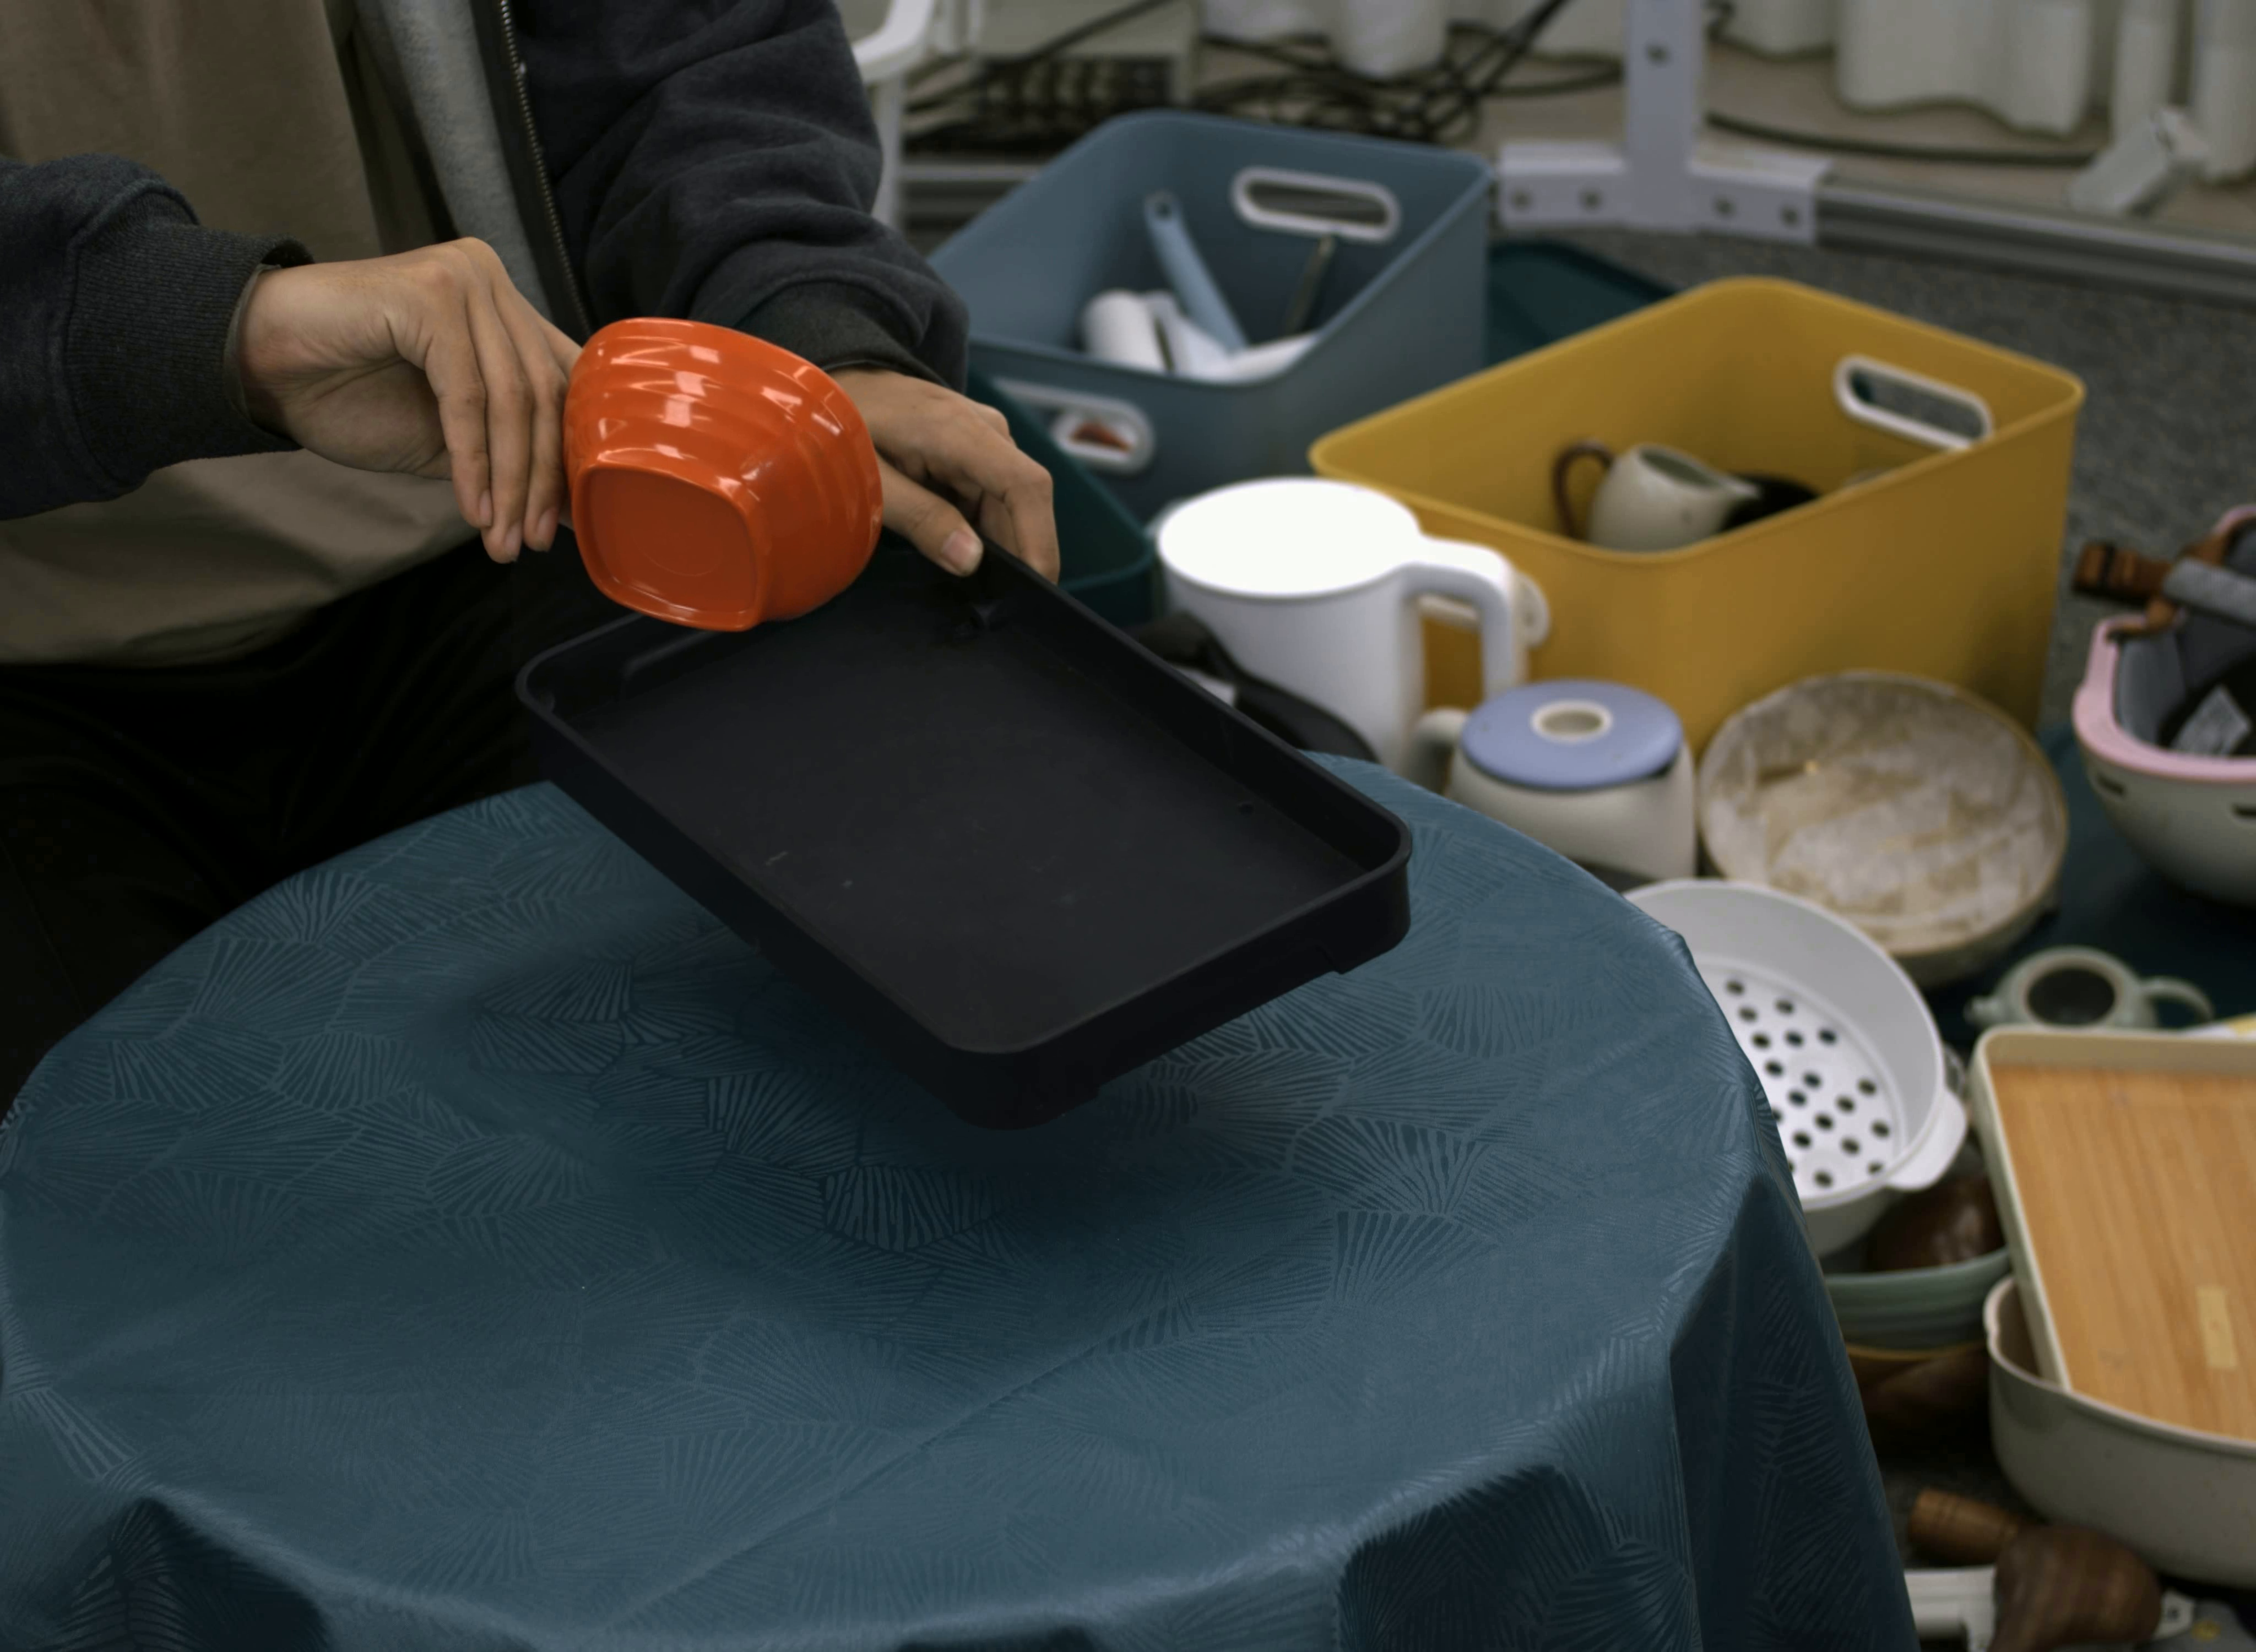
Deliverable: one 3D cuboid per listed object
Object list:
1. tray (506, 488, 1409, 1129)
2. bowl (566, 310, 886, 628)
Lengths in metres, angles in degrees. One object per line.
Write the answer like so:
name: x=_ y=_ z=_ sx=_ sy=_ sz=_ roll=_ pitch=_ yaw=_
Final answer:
tray: x=-0.062 y=-0.012 z=1.923 sx=0.186 sy=0.036 sz=0.319 roll=-25 pitch=39 yaw=-26
bowl: x=-0.138 y=-0.107 z=1.823 sx=0.118 sy=0.117 sz=0.052 roll=9 pitch=46 yaw=22
